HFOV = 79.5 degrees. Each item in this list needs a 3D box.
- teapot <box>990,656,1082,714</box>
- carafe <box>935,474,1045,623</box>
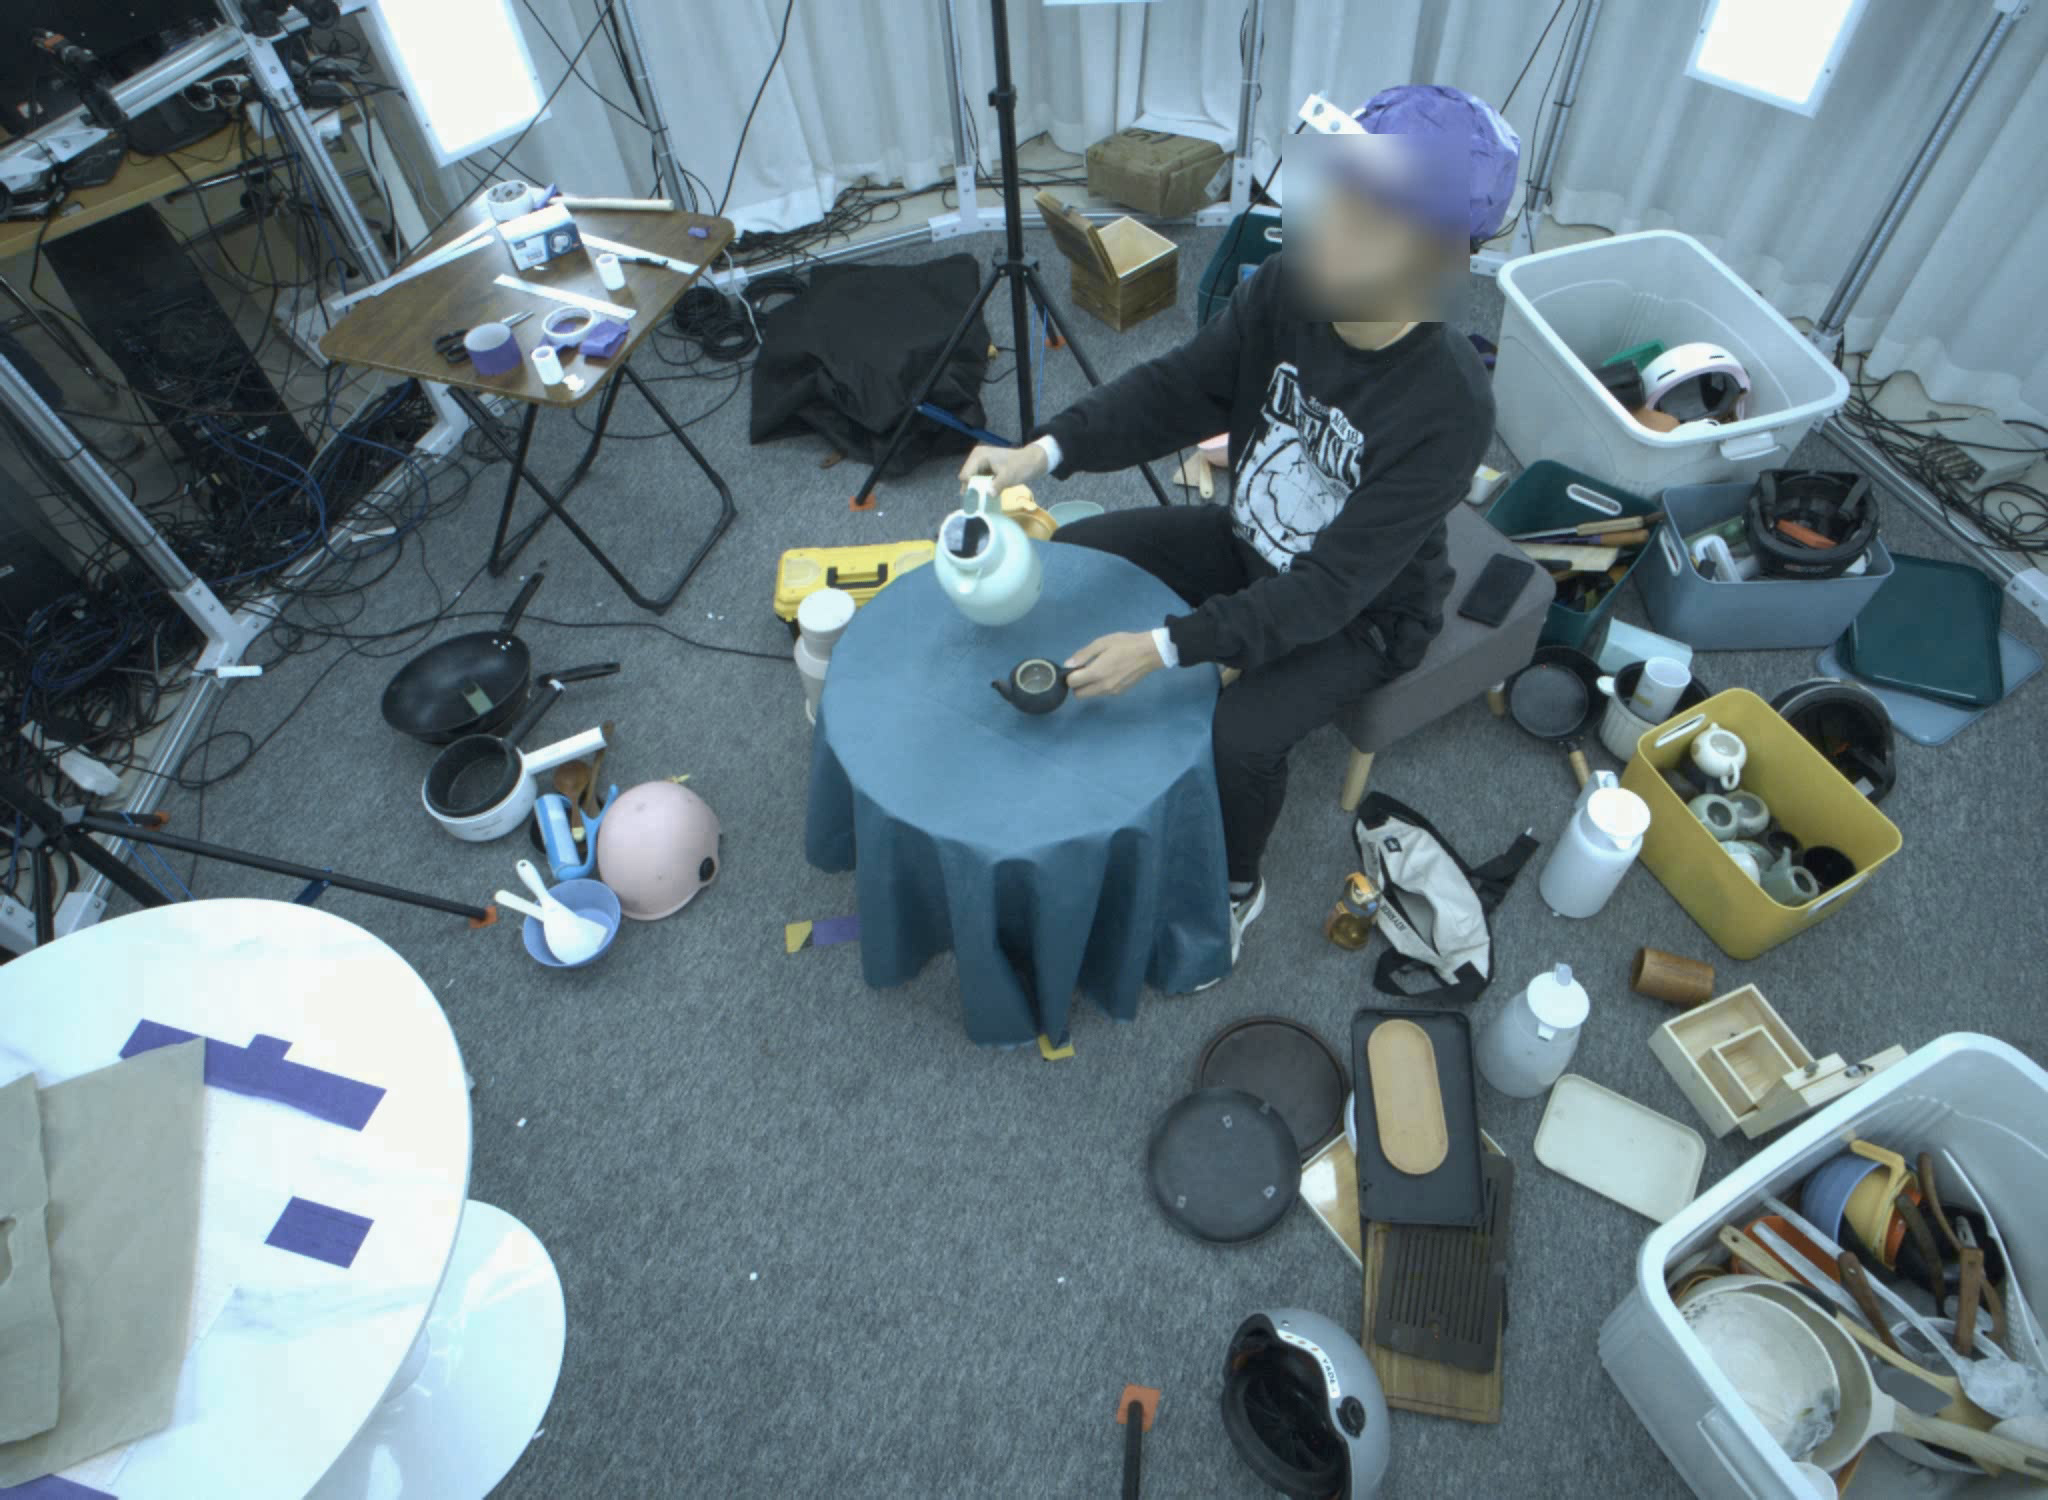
[{"bbox_3d":[0.018,-0.095,1.773,0.133,0.053,0.090,-11,64,-1],"label":"teapot"},{"bbox_3d":[-0.056,-0.289,1.750,0.143,0.259,0.186,5,83,9],"label":"carafe"}]
